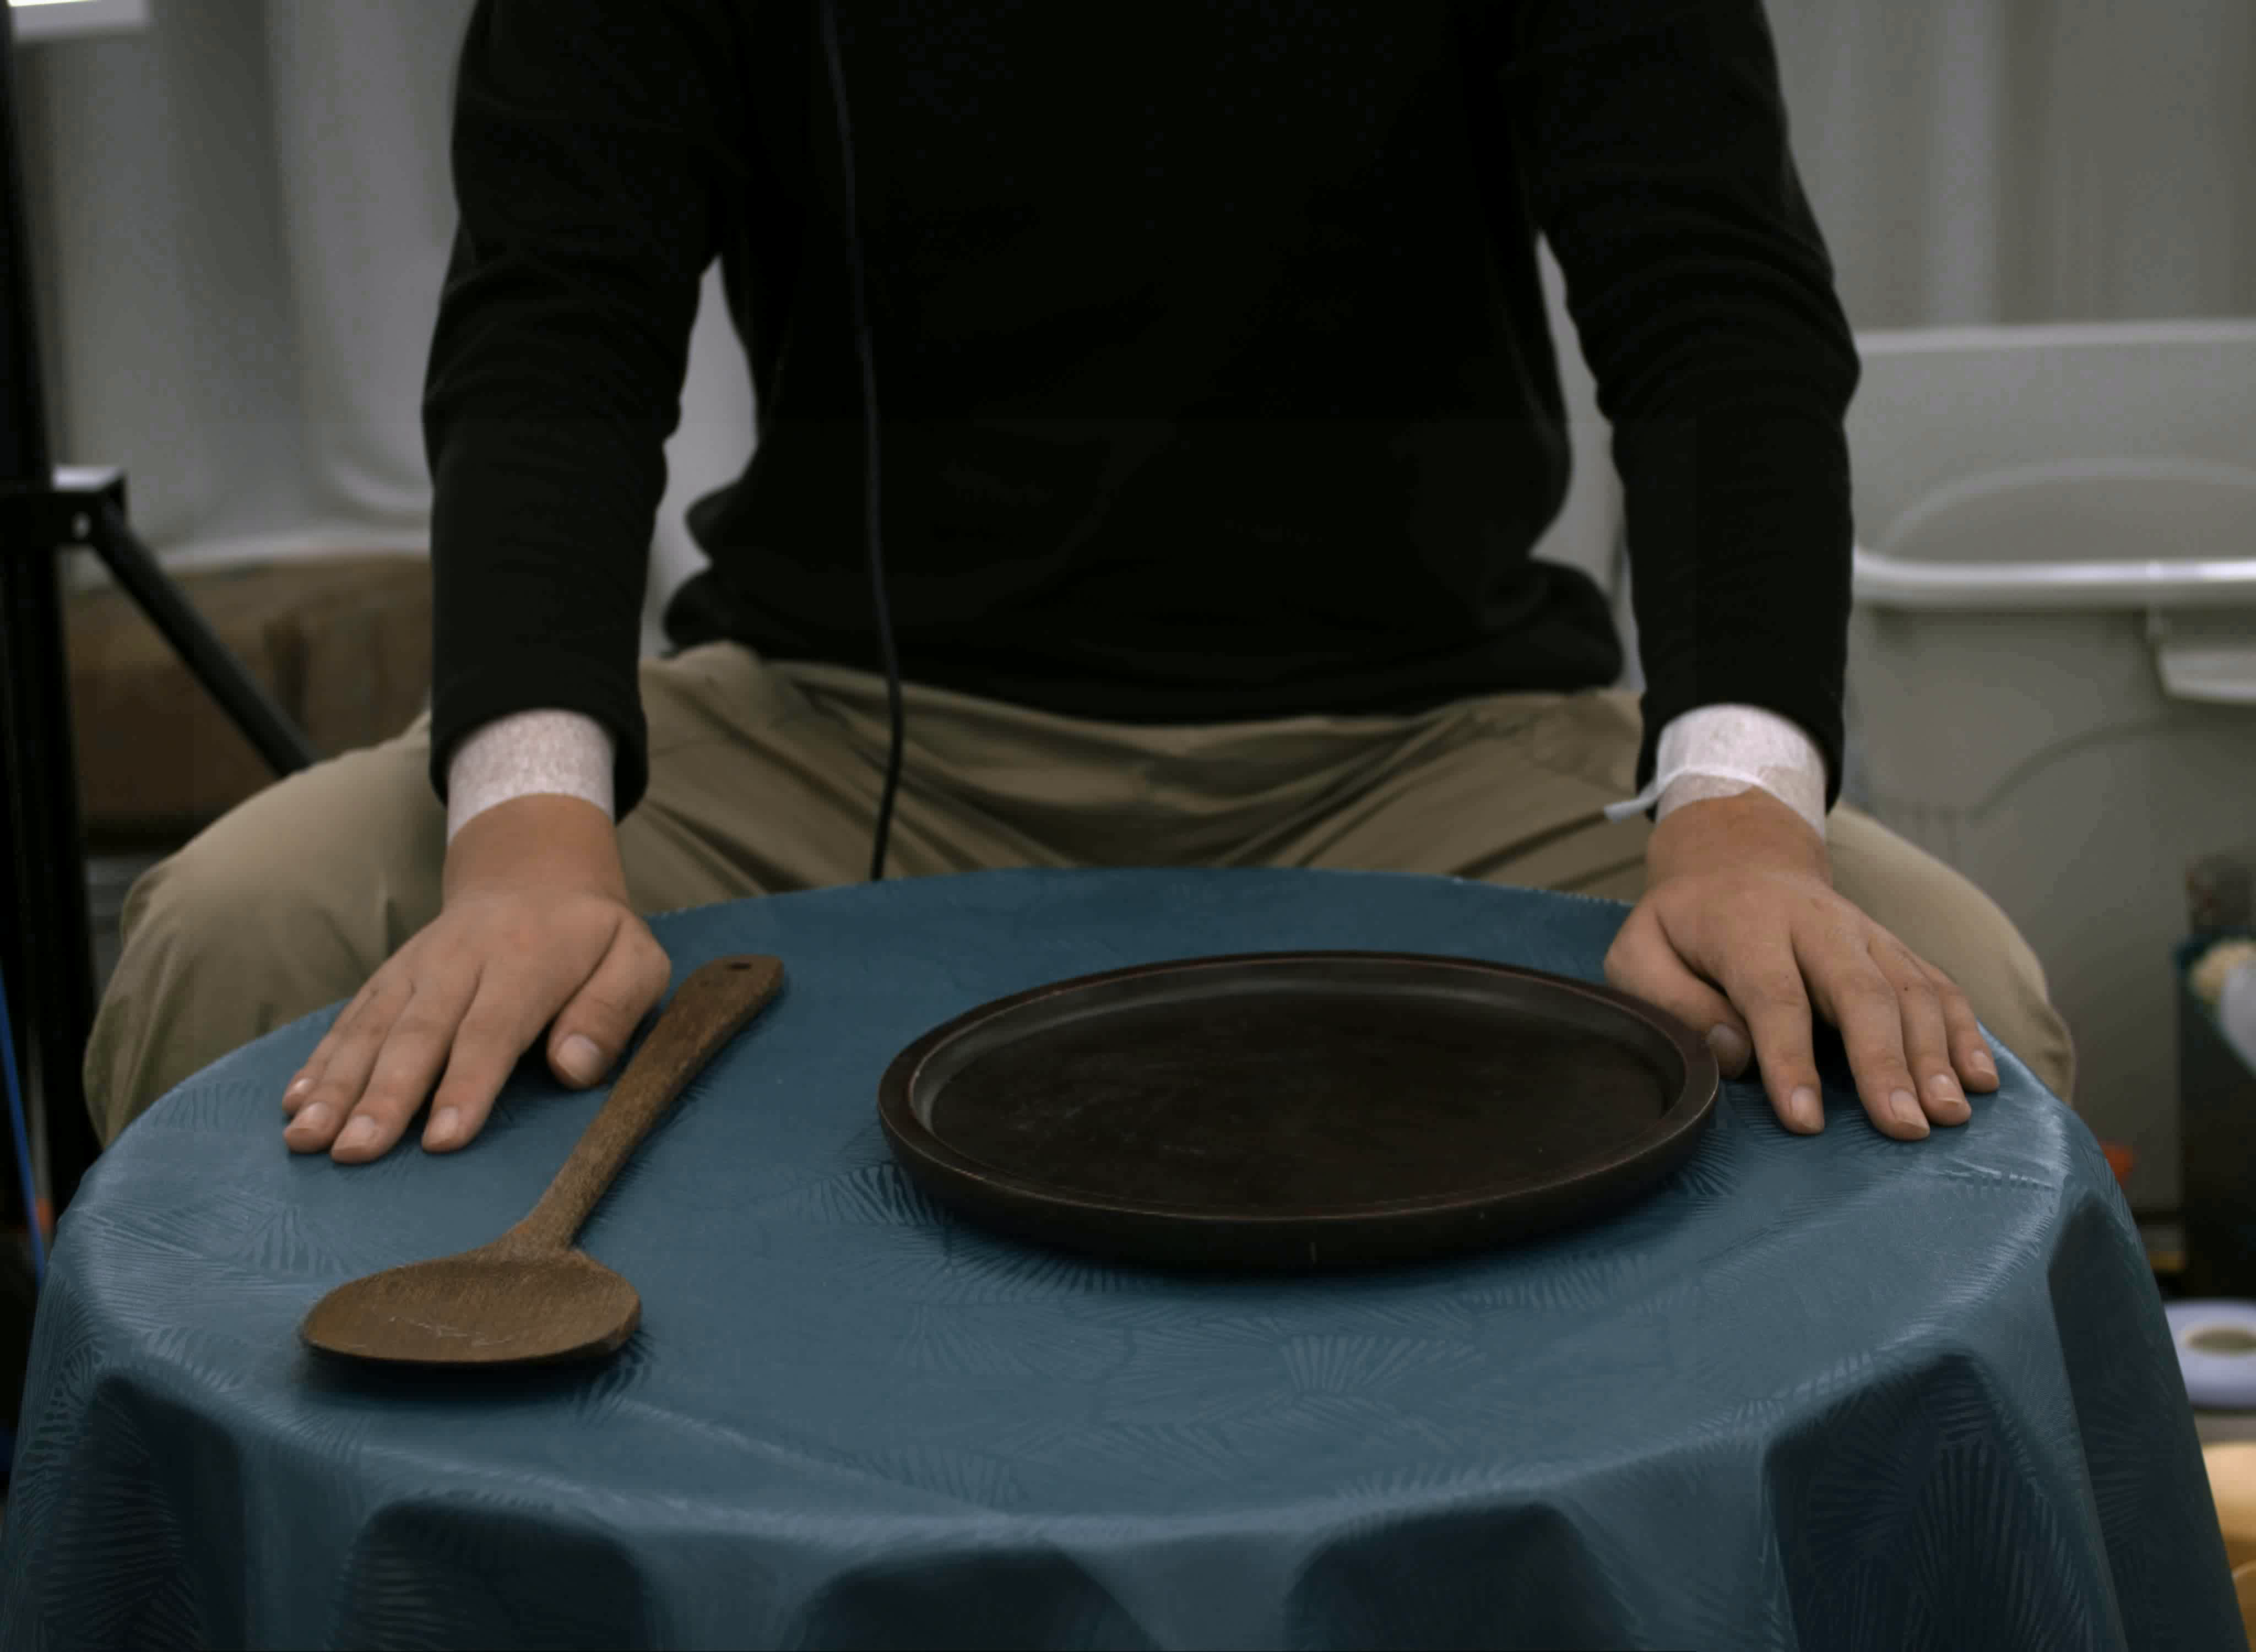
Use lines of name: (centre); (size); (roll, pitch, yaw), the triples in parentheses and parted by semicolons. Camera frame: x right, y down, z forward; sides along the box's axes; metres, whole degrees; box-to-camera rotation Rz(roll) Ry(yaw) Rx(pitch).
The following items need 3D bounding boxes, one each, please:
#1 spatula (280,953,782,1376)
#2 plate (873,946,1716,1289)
spatula: (-0.157, 0.095, 1.603); (0.096, 0.016, 0.384); (1, 16, 9)
plate: (0.050, 0.085, 1.591); (0.253, 0.029, 0.256); (-4, 17, 0)
